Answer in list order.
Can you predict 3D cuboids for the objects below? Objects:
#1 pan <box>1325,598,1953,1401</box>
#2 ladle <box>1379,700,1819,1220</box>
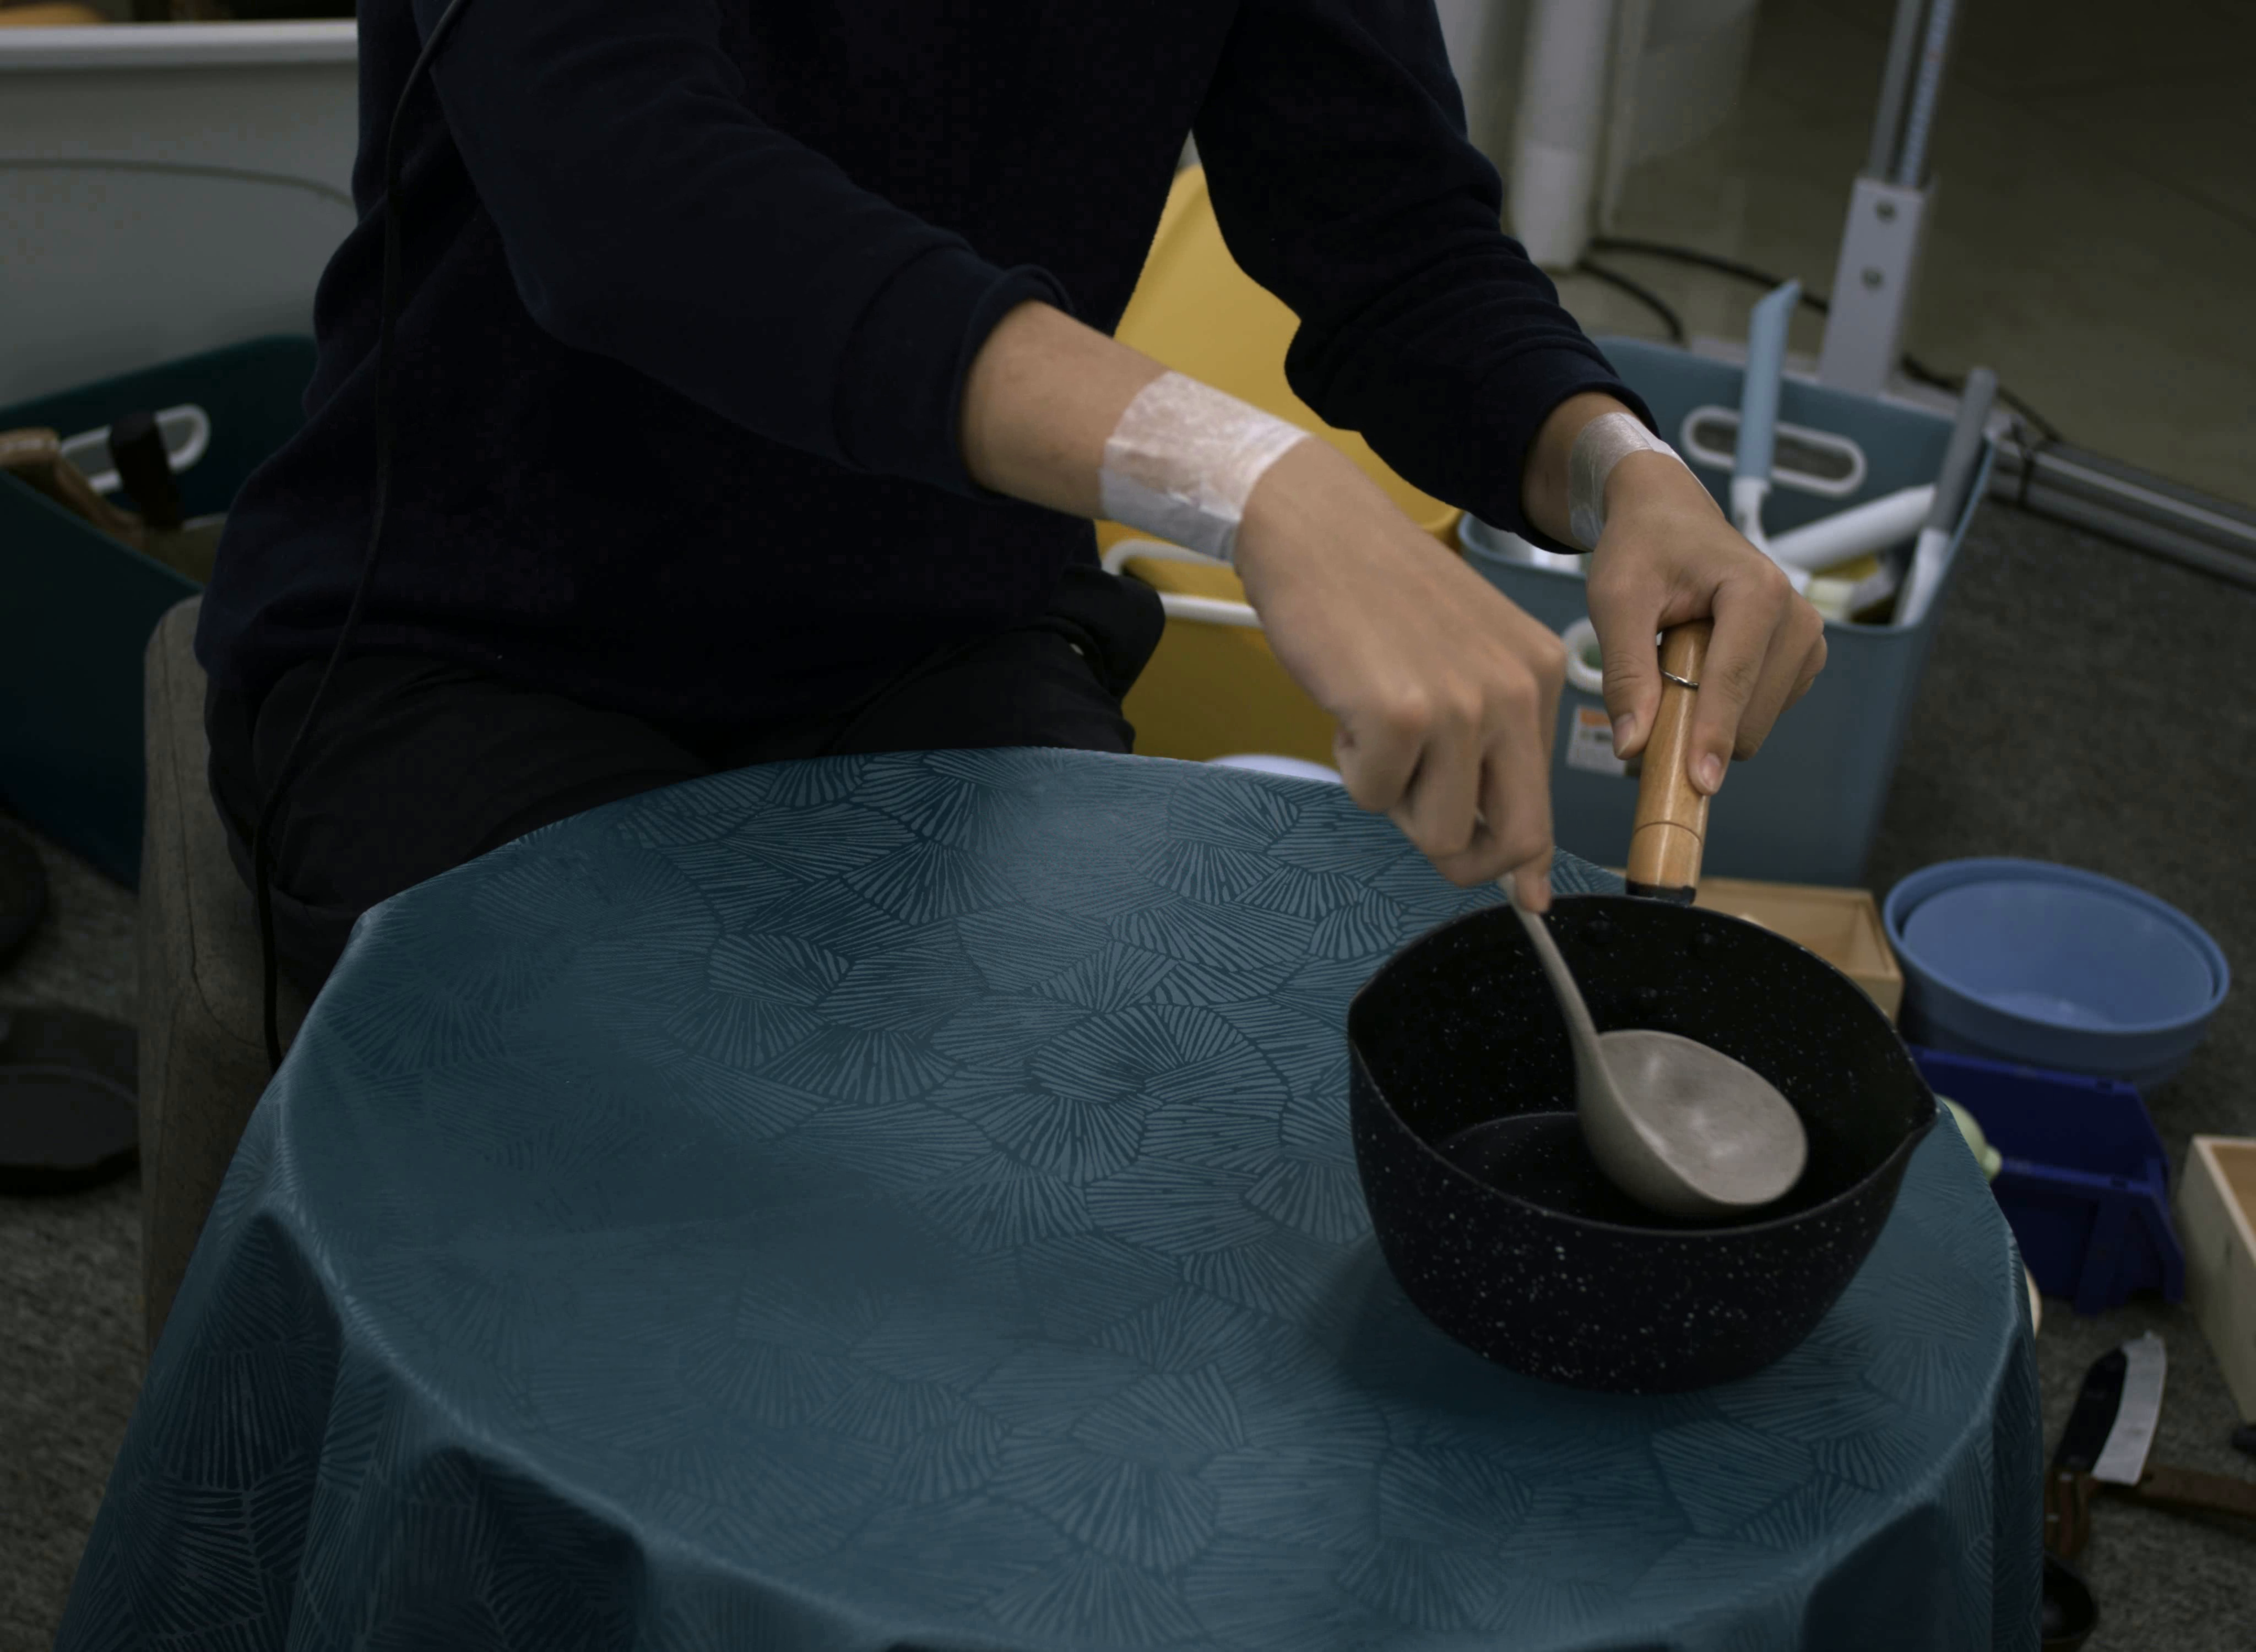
[{"bbox_3d":[0.175,0.055,1.816,0.207,0.108,0.345,7,36,5],"label":"pan"},{"bbox_3d":[0.154,0.034,1.712,0.069,0.272,0.090,-27,45,3],"label":"ladle"}]
